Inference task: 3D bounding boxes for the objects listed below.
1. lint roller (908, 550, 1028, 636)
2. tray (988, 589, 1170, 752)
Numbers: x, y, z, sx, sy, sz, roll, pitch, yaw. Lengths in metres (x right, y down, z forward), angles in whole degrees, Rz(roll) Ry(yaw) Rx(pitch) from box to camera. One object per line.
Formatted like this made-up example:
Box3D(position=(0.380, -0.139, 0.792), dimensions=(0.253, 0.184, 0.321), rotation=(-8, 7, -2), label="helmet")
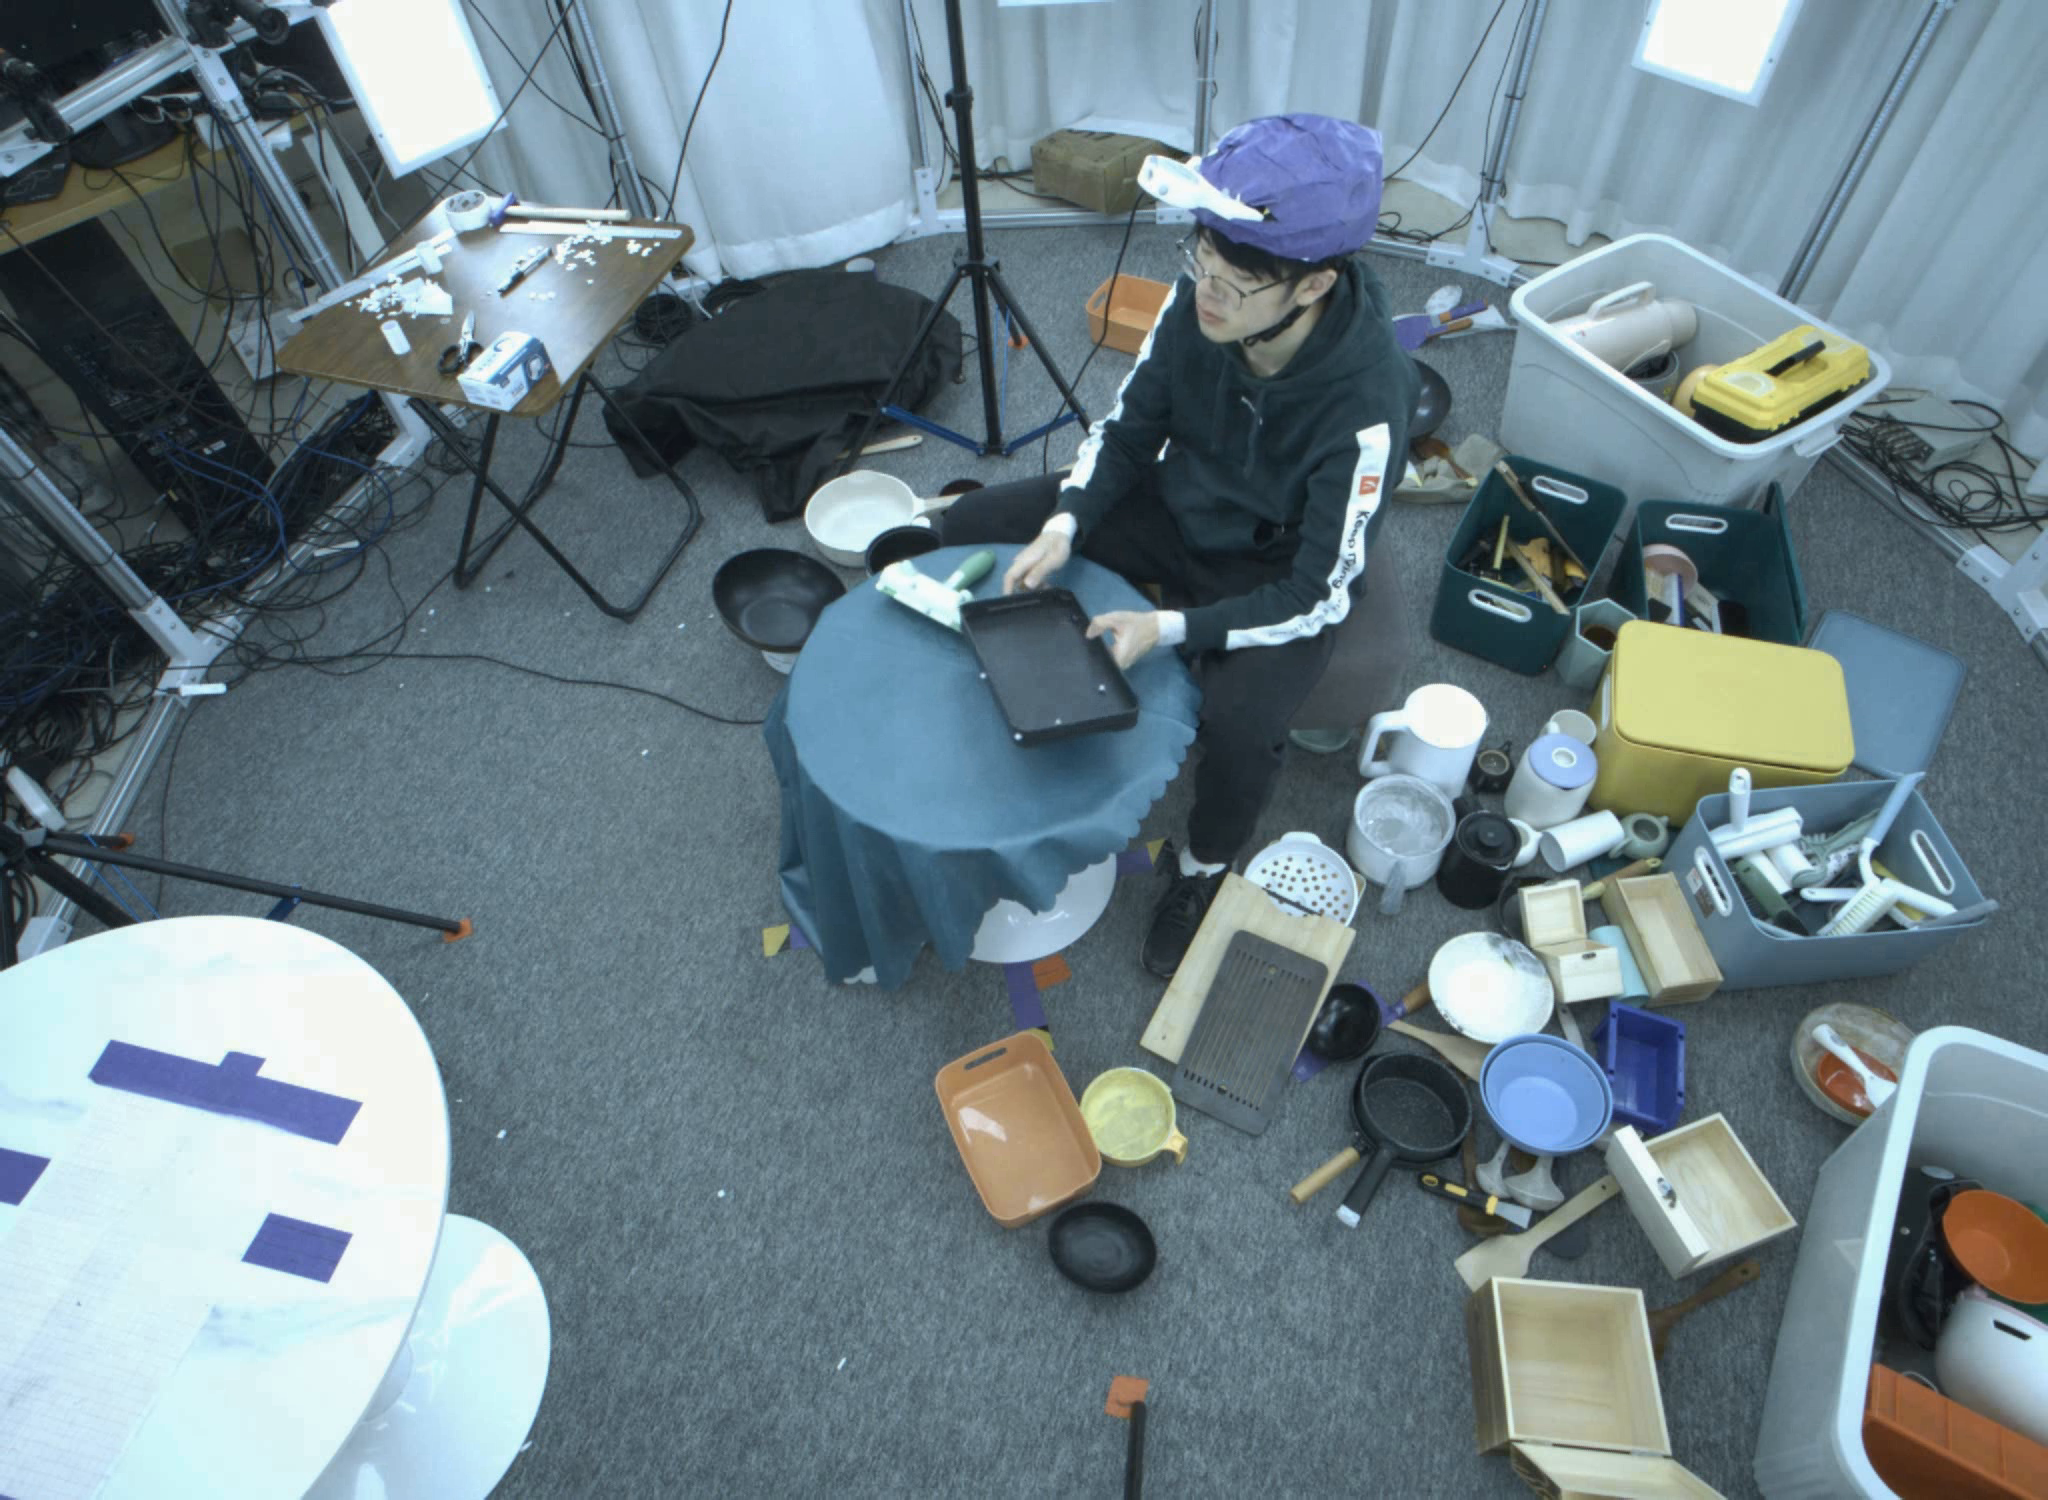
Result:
Box3D(position=(-0.056, -0.275, 1.932), dimensions=(0.195, 0.083, 0.184), rotation=(31, 64, 22), label="lint roller")
Box3D(position=(0.071, -0.119, 1.743), dimensions=(0.186, 0.037, 0.312), rotation=(-9, 43, -13), label="tray")
